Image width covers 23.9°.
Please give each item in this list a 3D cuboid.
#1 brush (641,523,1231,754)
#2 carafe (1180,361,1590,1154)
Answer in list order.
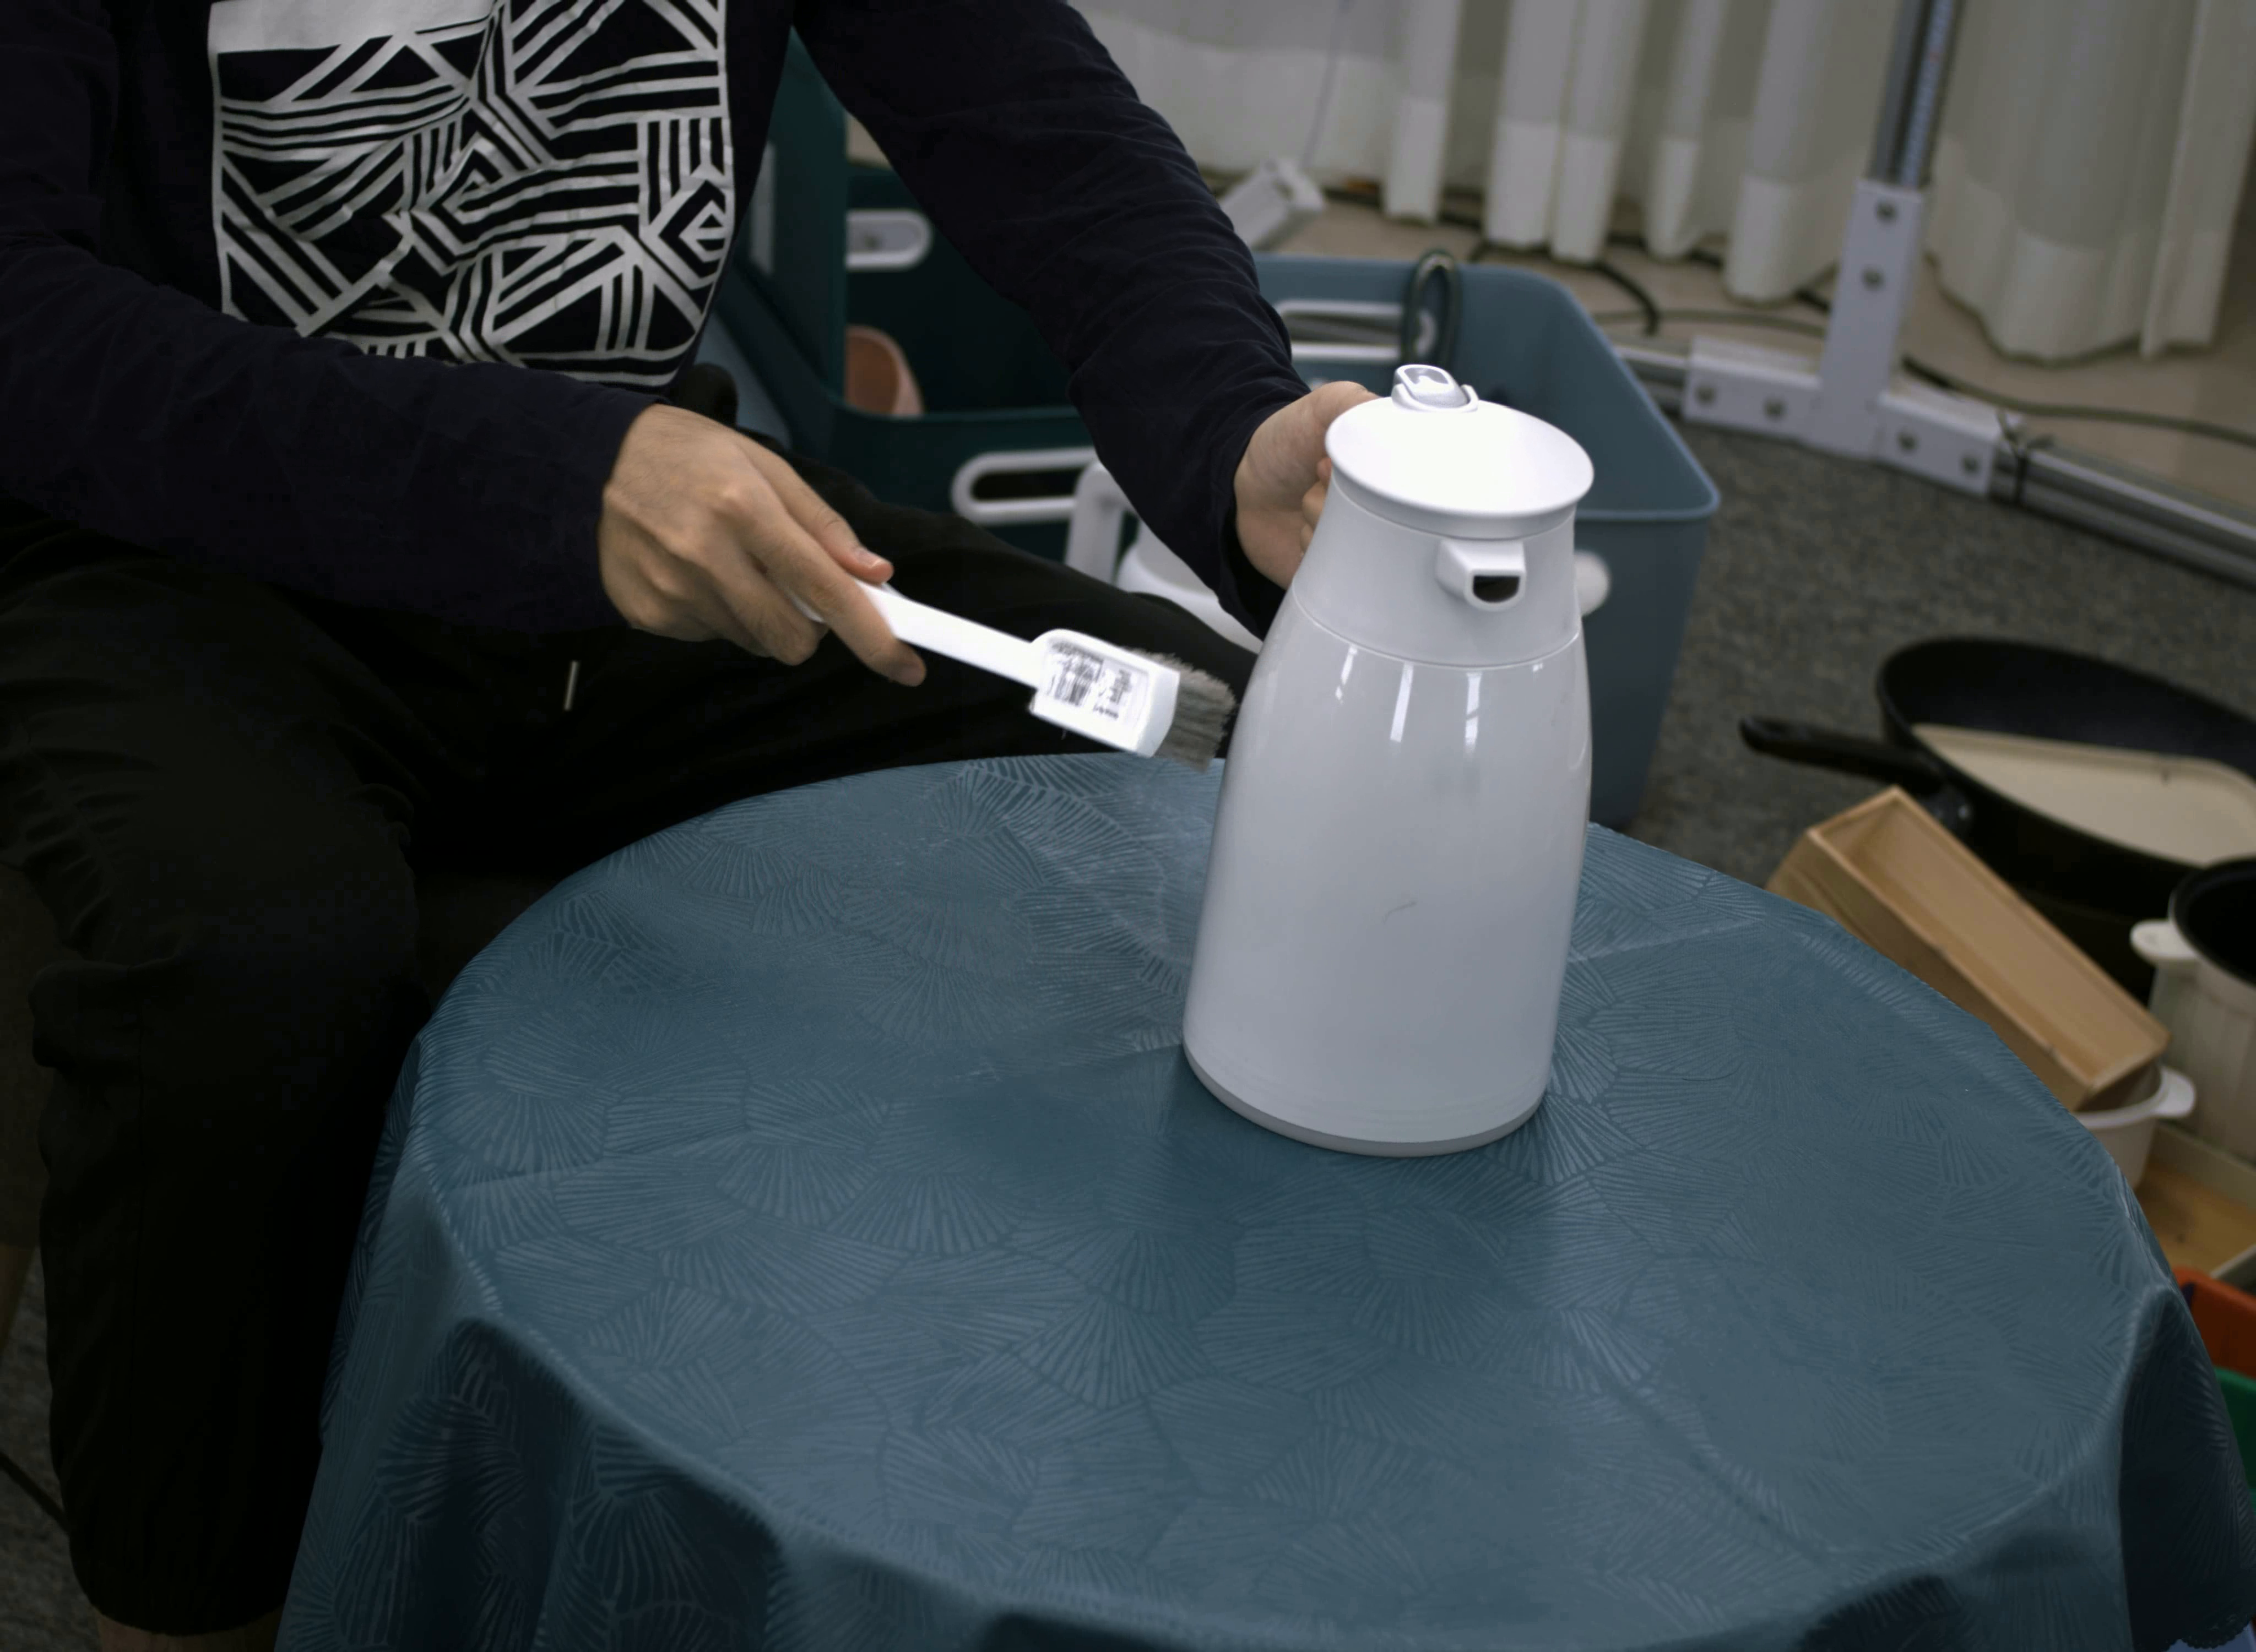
[{"bbox_3d":[-0.069,-0.070,1.905,0.245,0.034,0.050,17,6,32],"label":"brush"},{"bbox_3d":[0.092,-0.034,1.859,0.132,0.248,0.169,-1,29,-14],"label":"carafe"}]
